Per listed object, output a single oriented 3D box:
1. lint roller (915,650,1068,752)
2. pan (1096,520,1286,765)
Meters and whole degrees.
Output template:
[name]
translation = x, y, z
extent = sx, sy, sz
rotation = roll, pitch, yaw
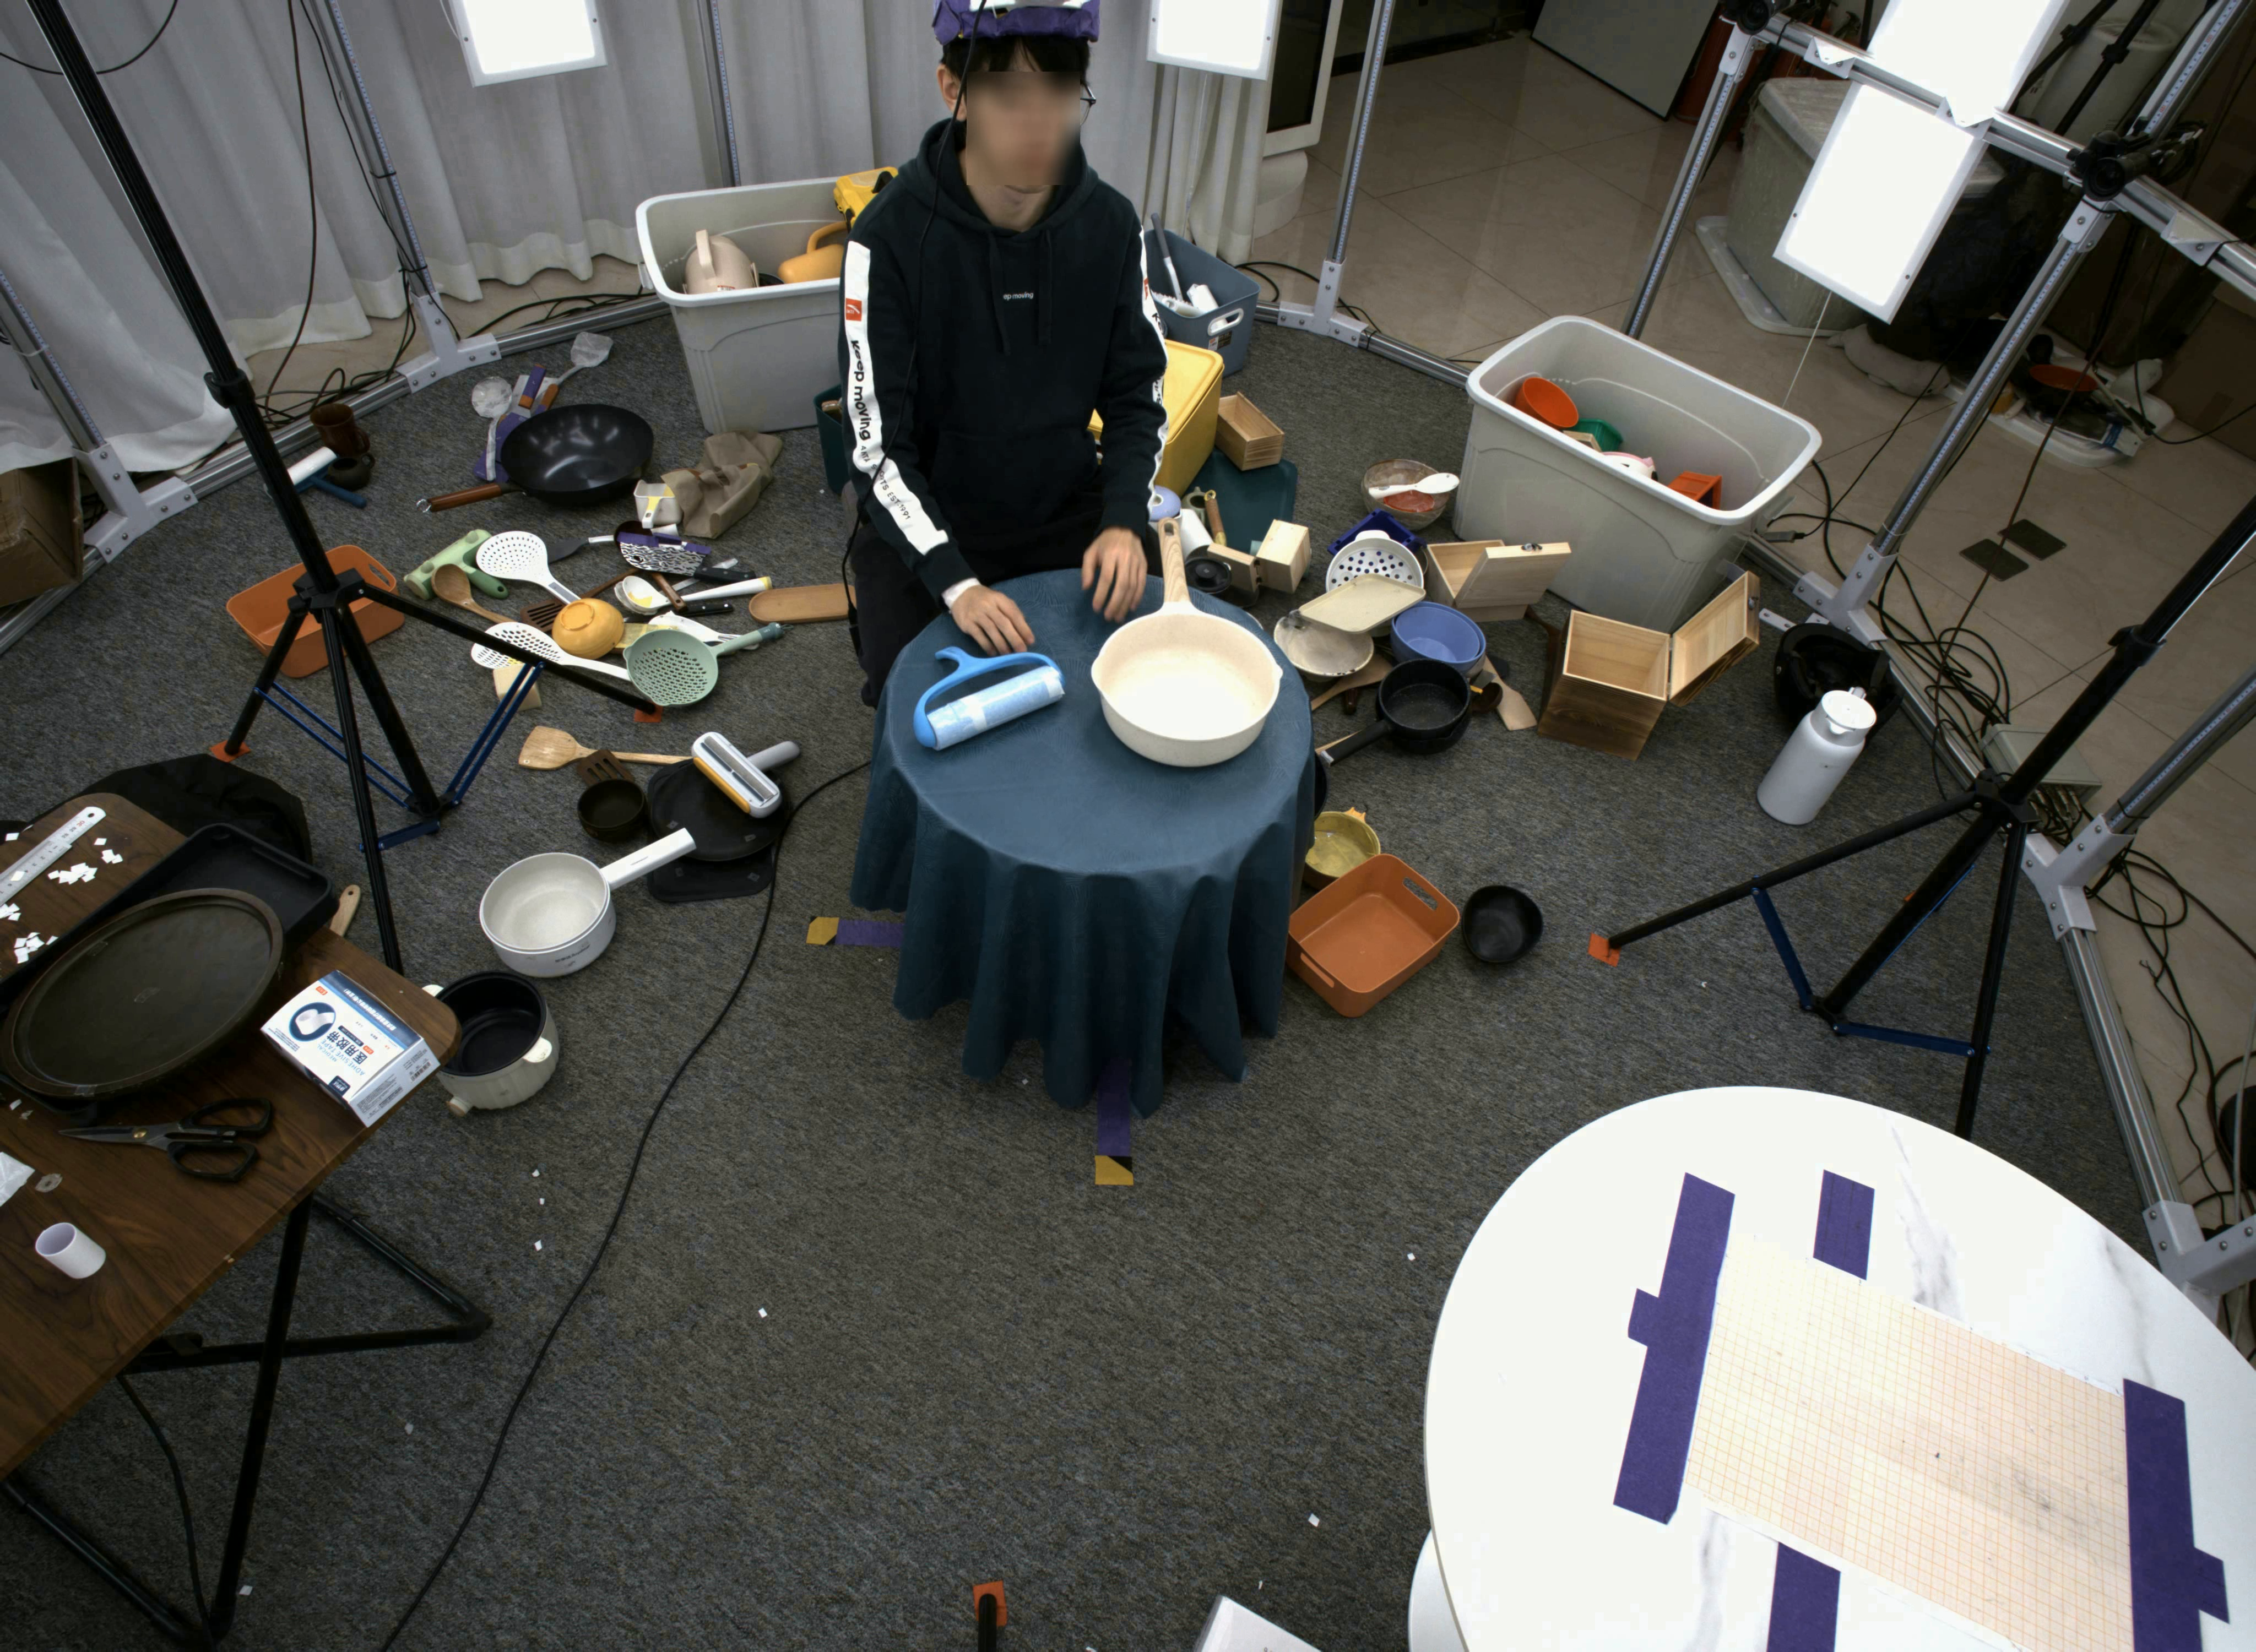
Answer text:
[lint roller]
translation = -0.218, -0.202, 1.792
extent = 0.230, 0.066, 0.183
rotation = -28, 57, -23
[pan]
translation = 0.076, -0.262, 1.835
extent = 0.263, 0.099, 0.446
rotation = -3, 49, -5
